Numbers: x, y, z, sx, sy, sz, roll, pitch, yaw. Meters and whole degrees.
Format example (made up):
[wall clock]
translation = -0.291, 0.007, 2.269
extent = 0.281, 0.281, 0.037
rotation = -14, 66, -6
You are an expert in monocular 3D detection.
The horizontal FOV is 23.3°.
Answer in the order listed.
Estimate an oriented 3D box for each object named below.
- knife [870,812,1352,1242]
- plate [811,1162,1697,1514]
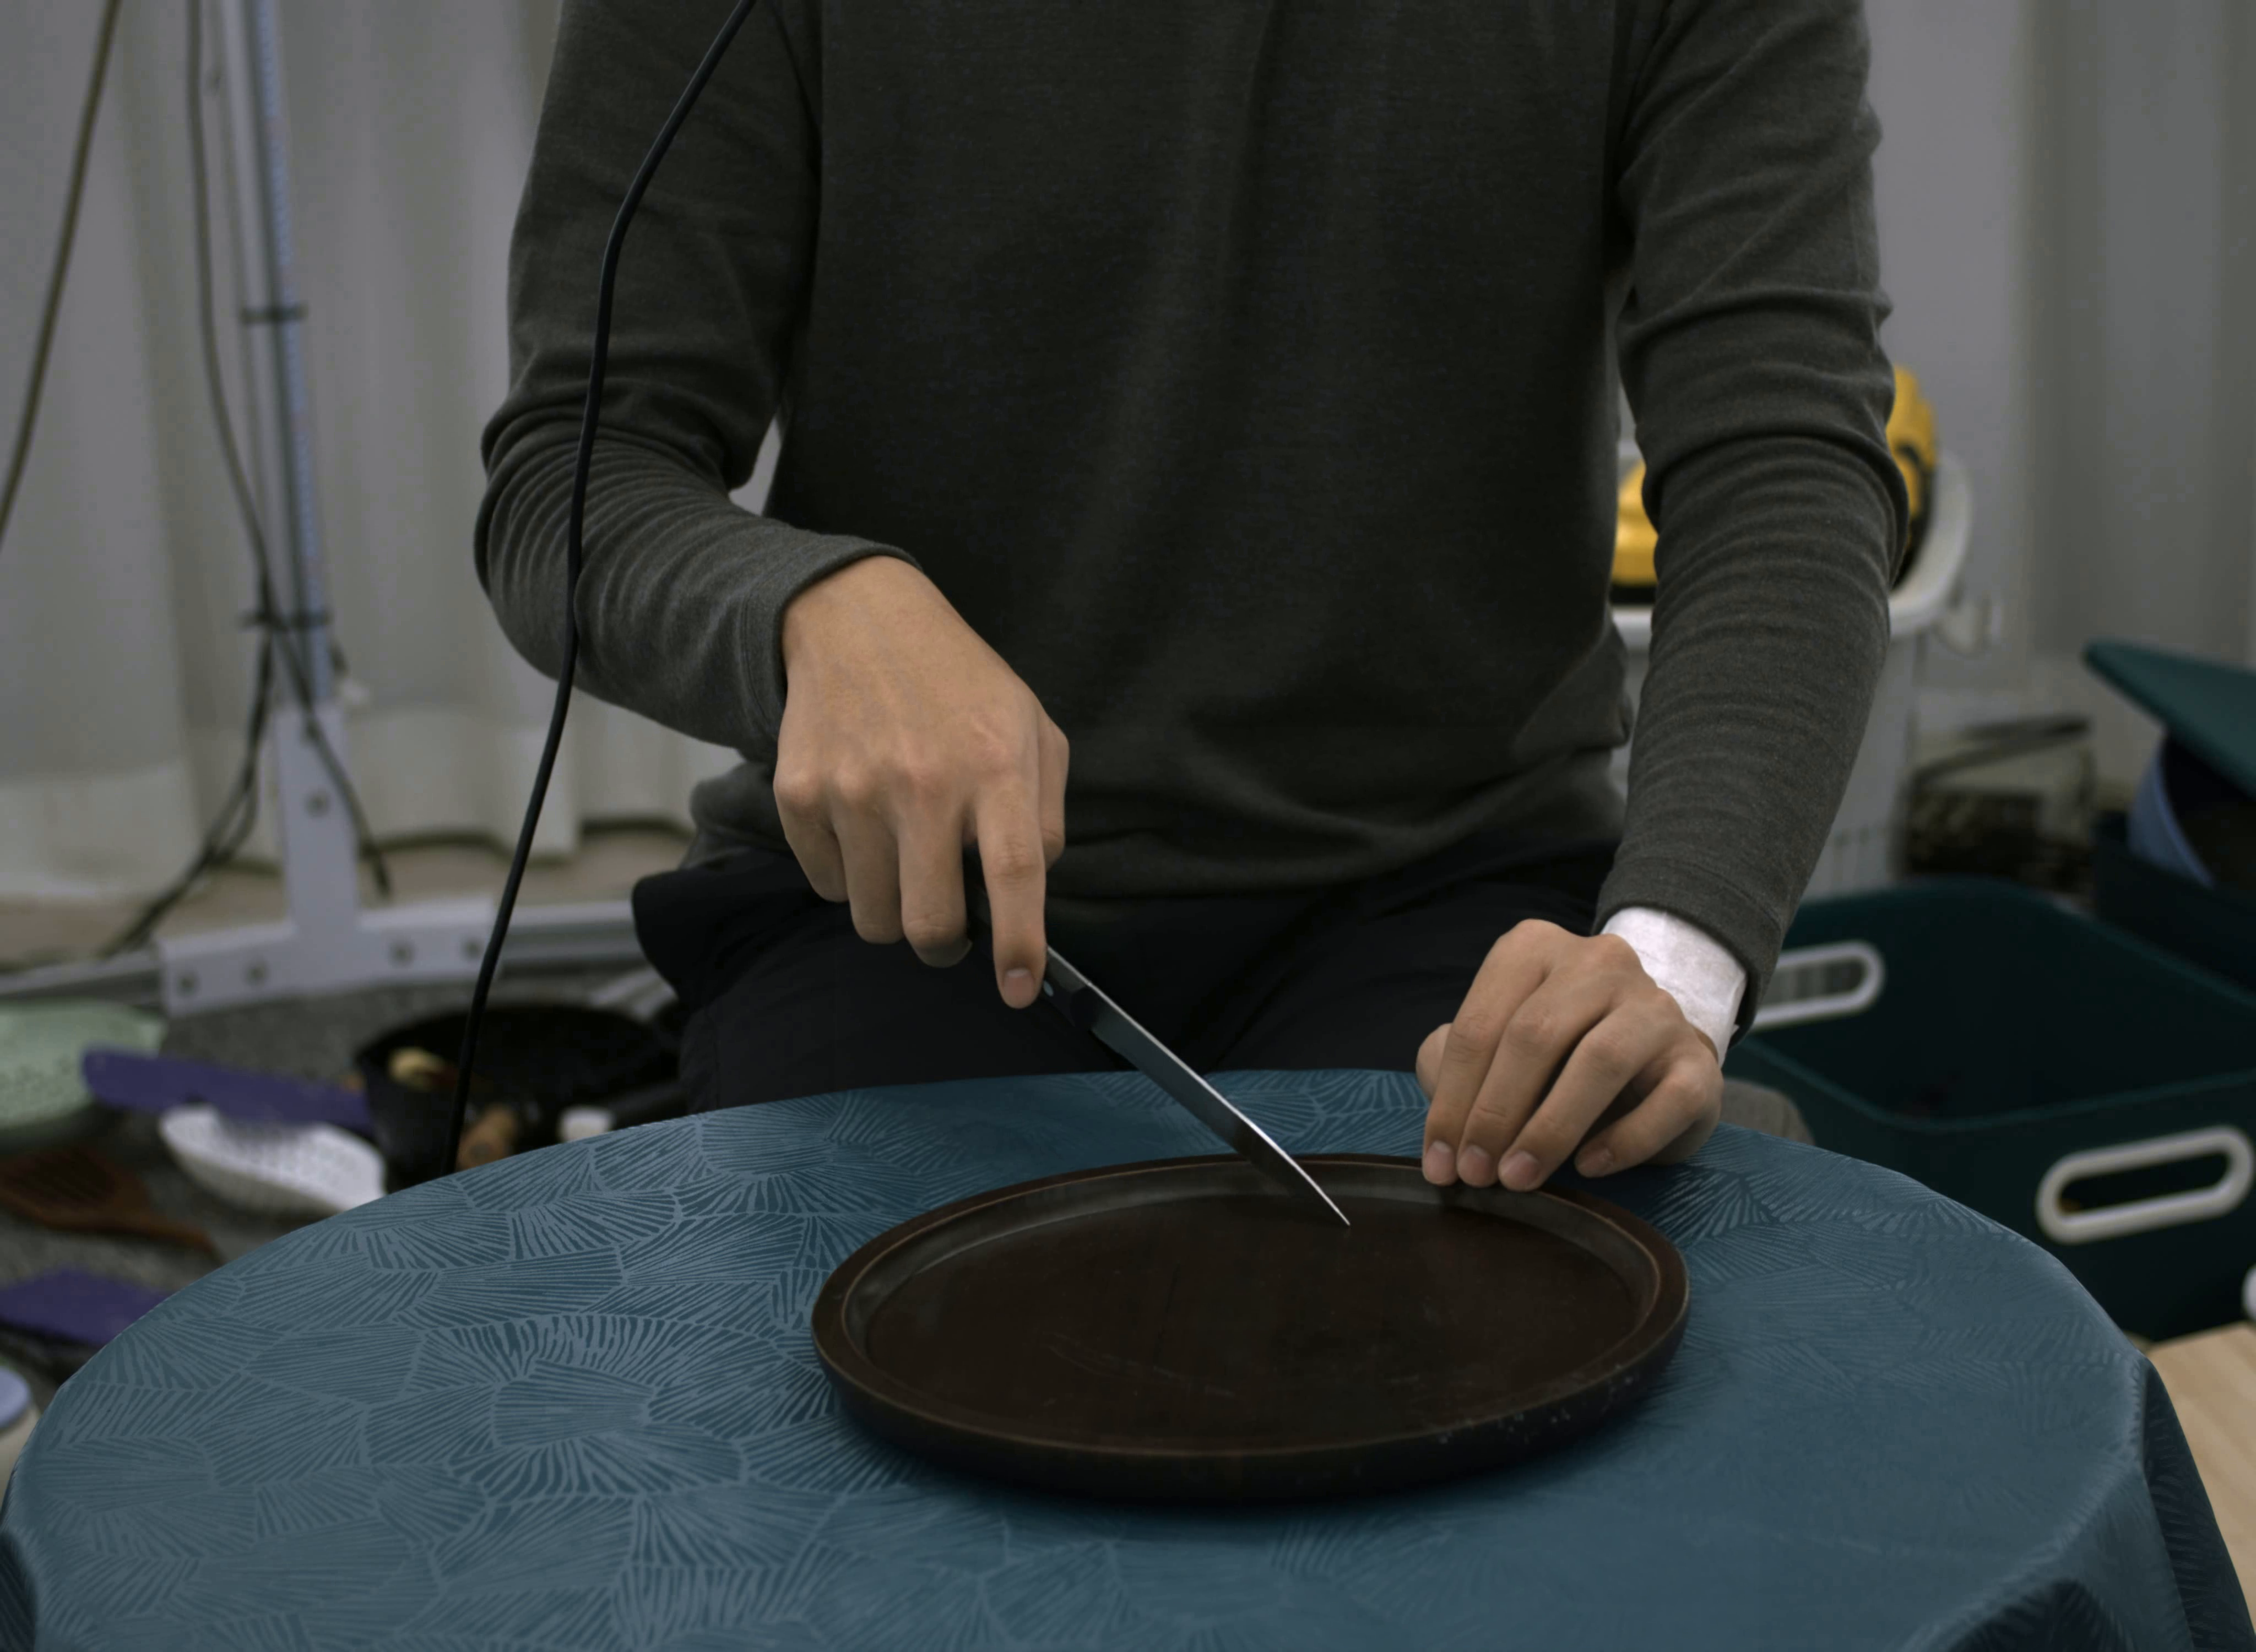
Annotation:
[knife]
translation = -0.007, 0.060, 1.709
extent = 0.016, 0.024, 0.241
rotation = -29, 48, -26
[plate]
translation = 0.036, 0.143, 1.561
extent = 0.254, 0.029, 0.256
rotation = -2, 16, 0
